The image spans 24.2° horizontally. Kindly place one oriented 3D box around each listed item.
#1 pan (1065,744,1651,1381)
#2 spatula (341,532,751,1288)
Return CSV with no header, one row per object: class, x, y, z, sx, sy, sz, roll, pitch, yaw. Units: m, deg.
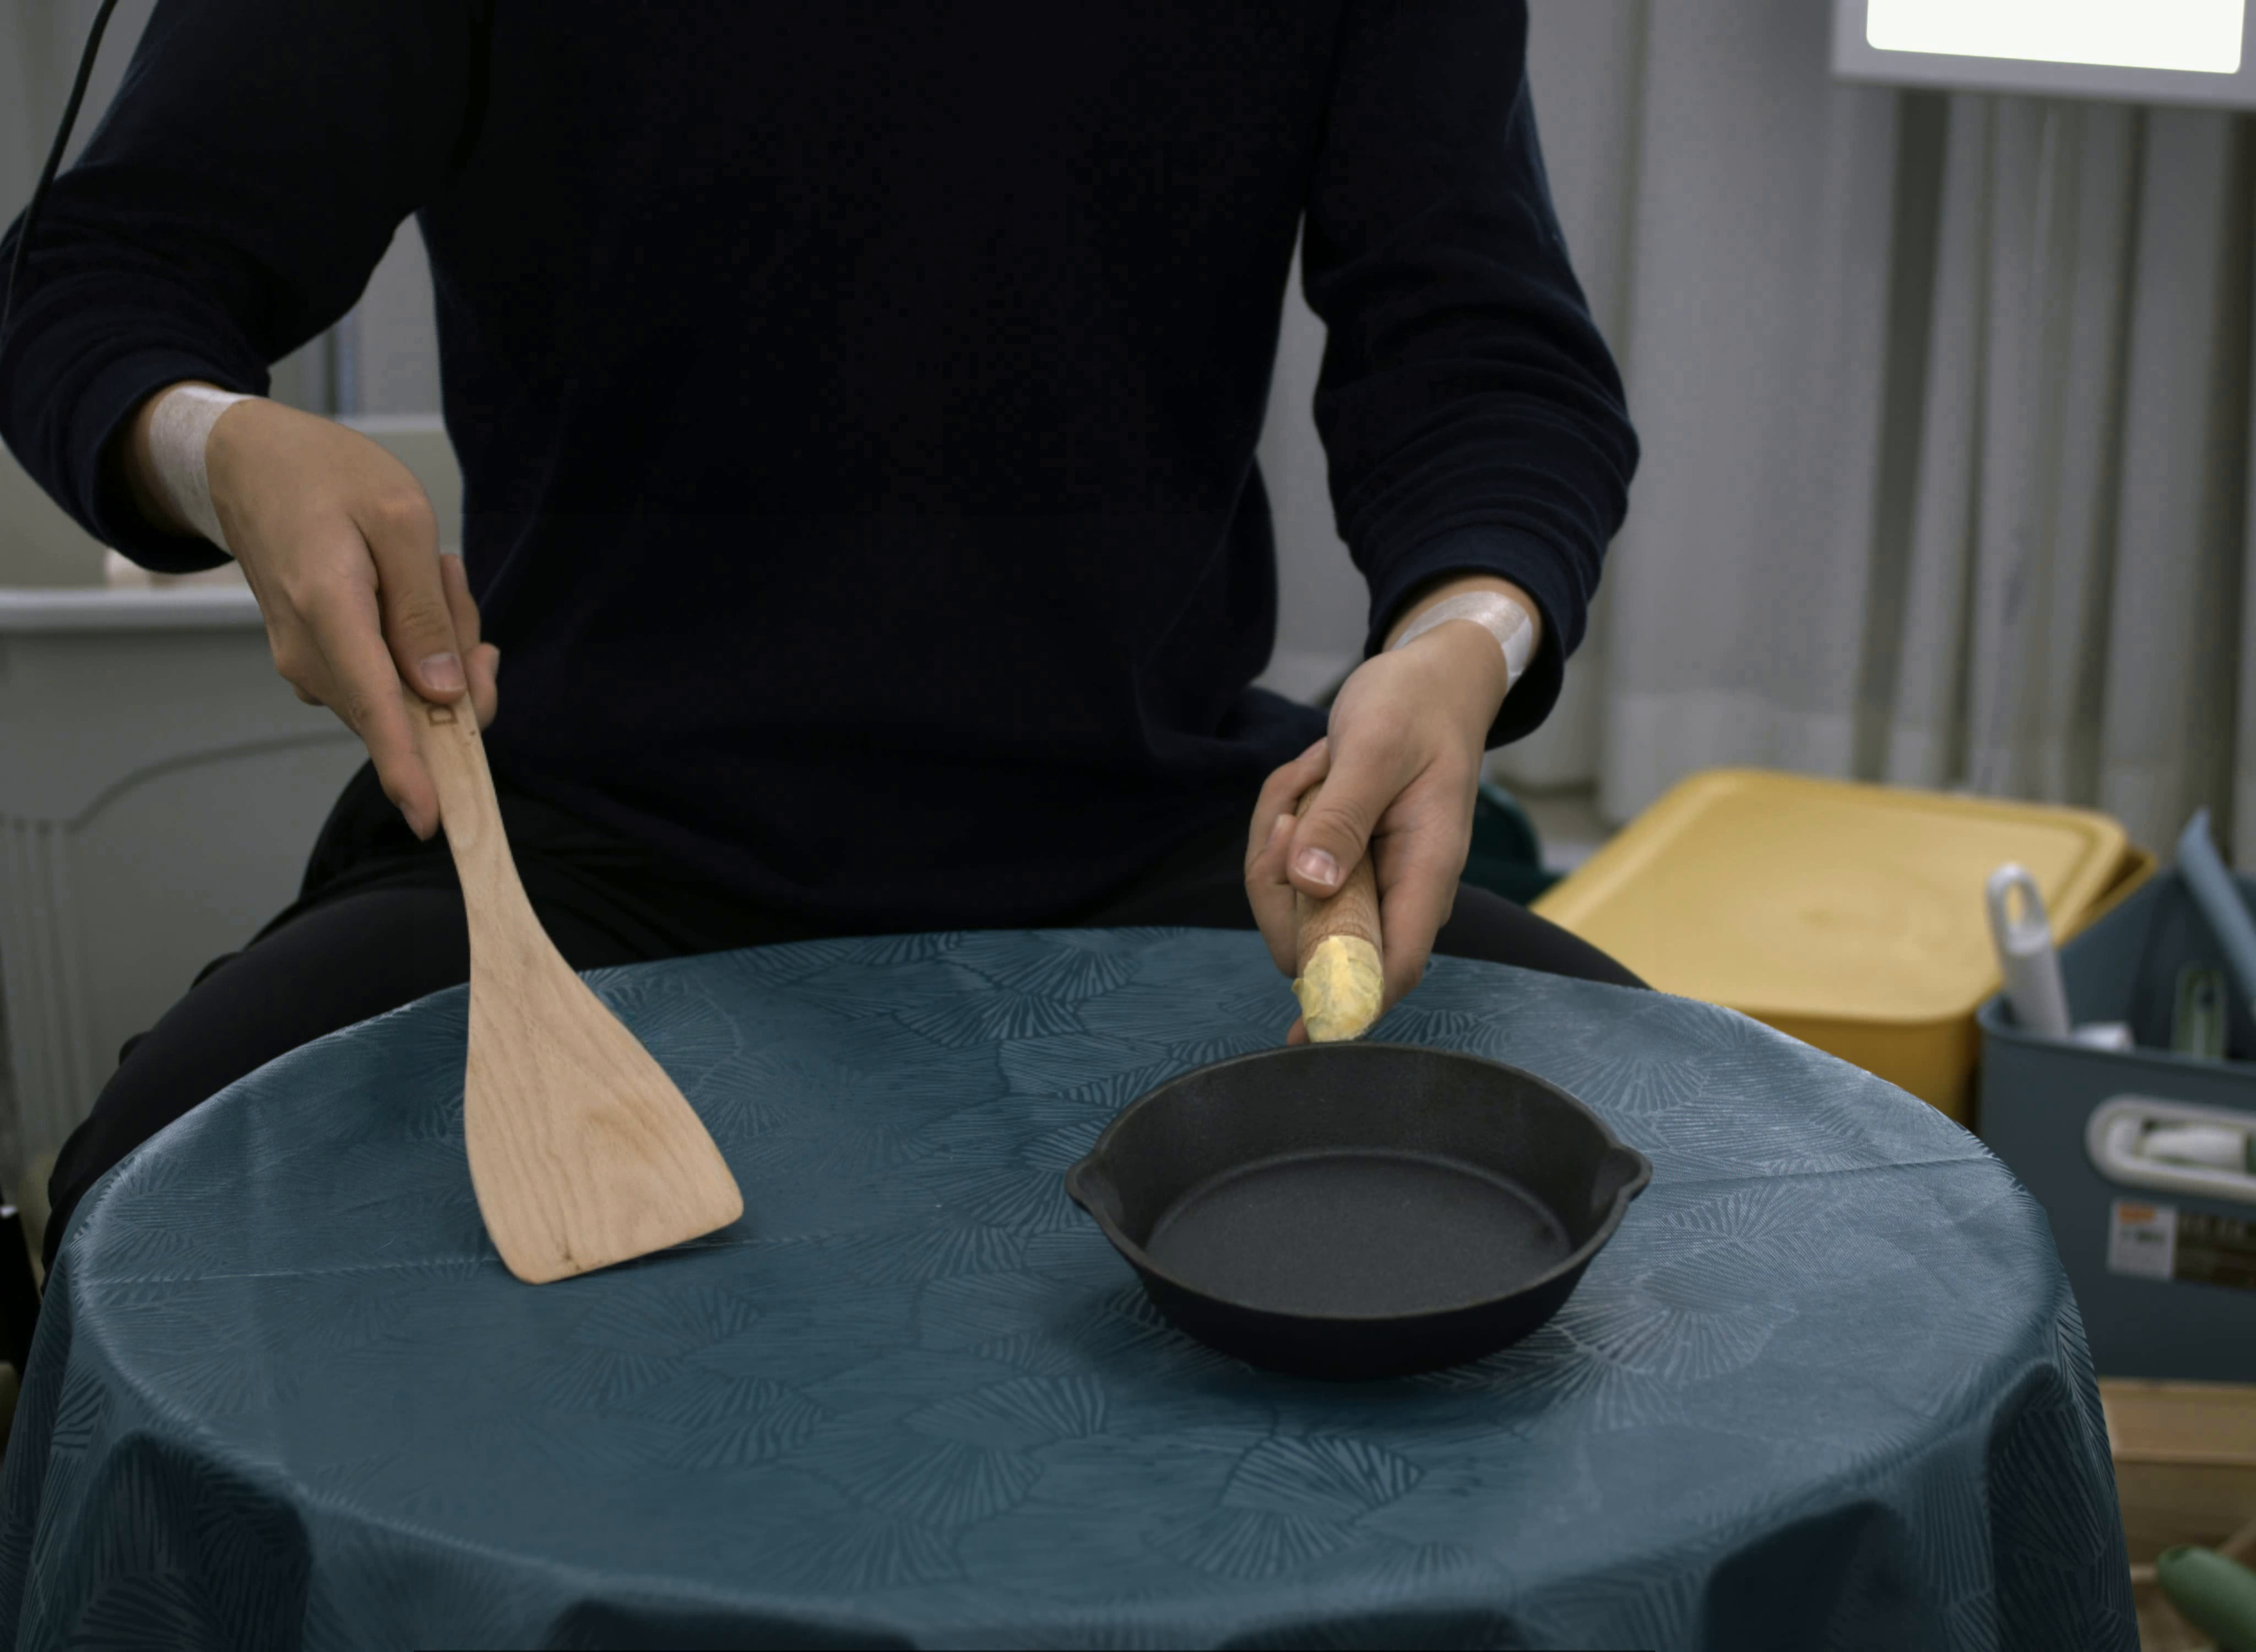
pan,0.069,0.067,1.591,0.168,0.050,0.321,0,28,1
spatula,-0.197,0.018,1.650,0.080,0.016,0.324,-8,50,-21
